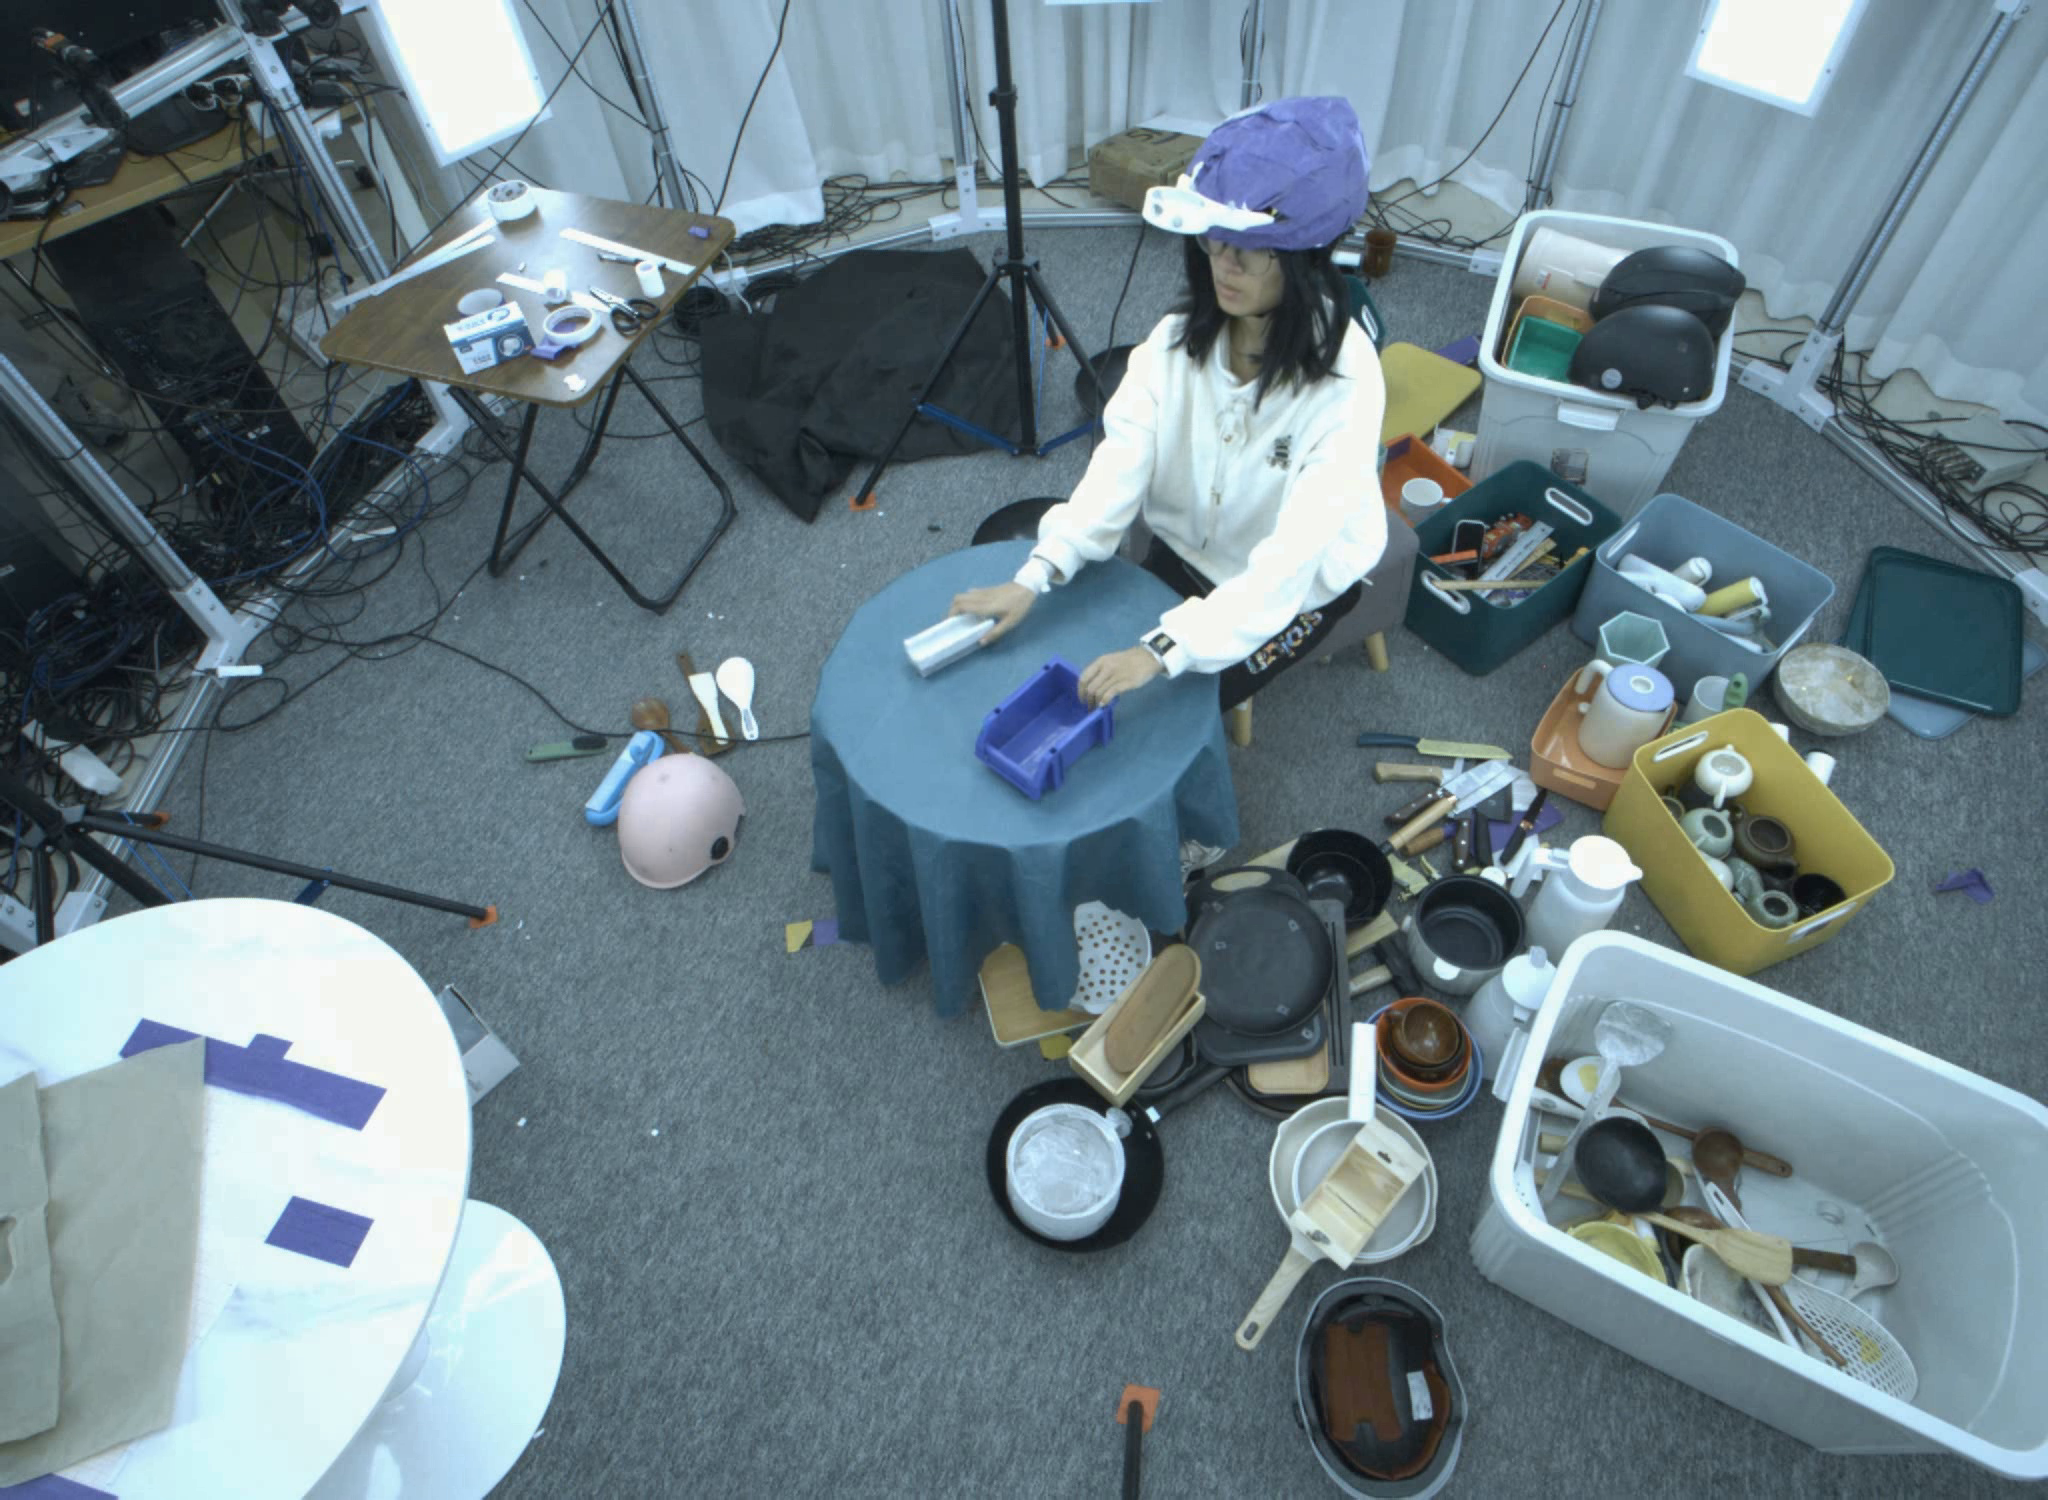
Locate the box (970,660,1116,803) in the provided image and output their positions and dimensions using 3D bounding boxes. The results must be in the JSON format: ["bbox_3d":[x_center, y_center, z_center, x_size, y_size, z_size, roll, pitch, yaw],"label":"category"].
[{"bbox_3d":[0.027,-0.022,1.752,0.122,0.083,0.181,38,62,25],"label":"box"}]

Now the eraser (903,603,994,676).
[{"bbox_3d":[-0.115,-0.169,1.882,0.135,0.047,0.049,-32,56,-17],"label":"eraser"}]
